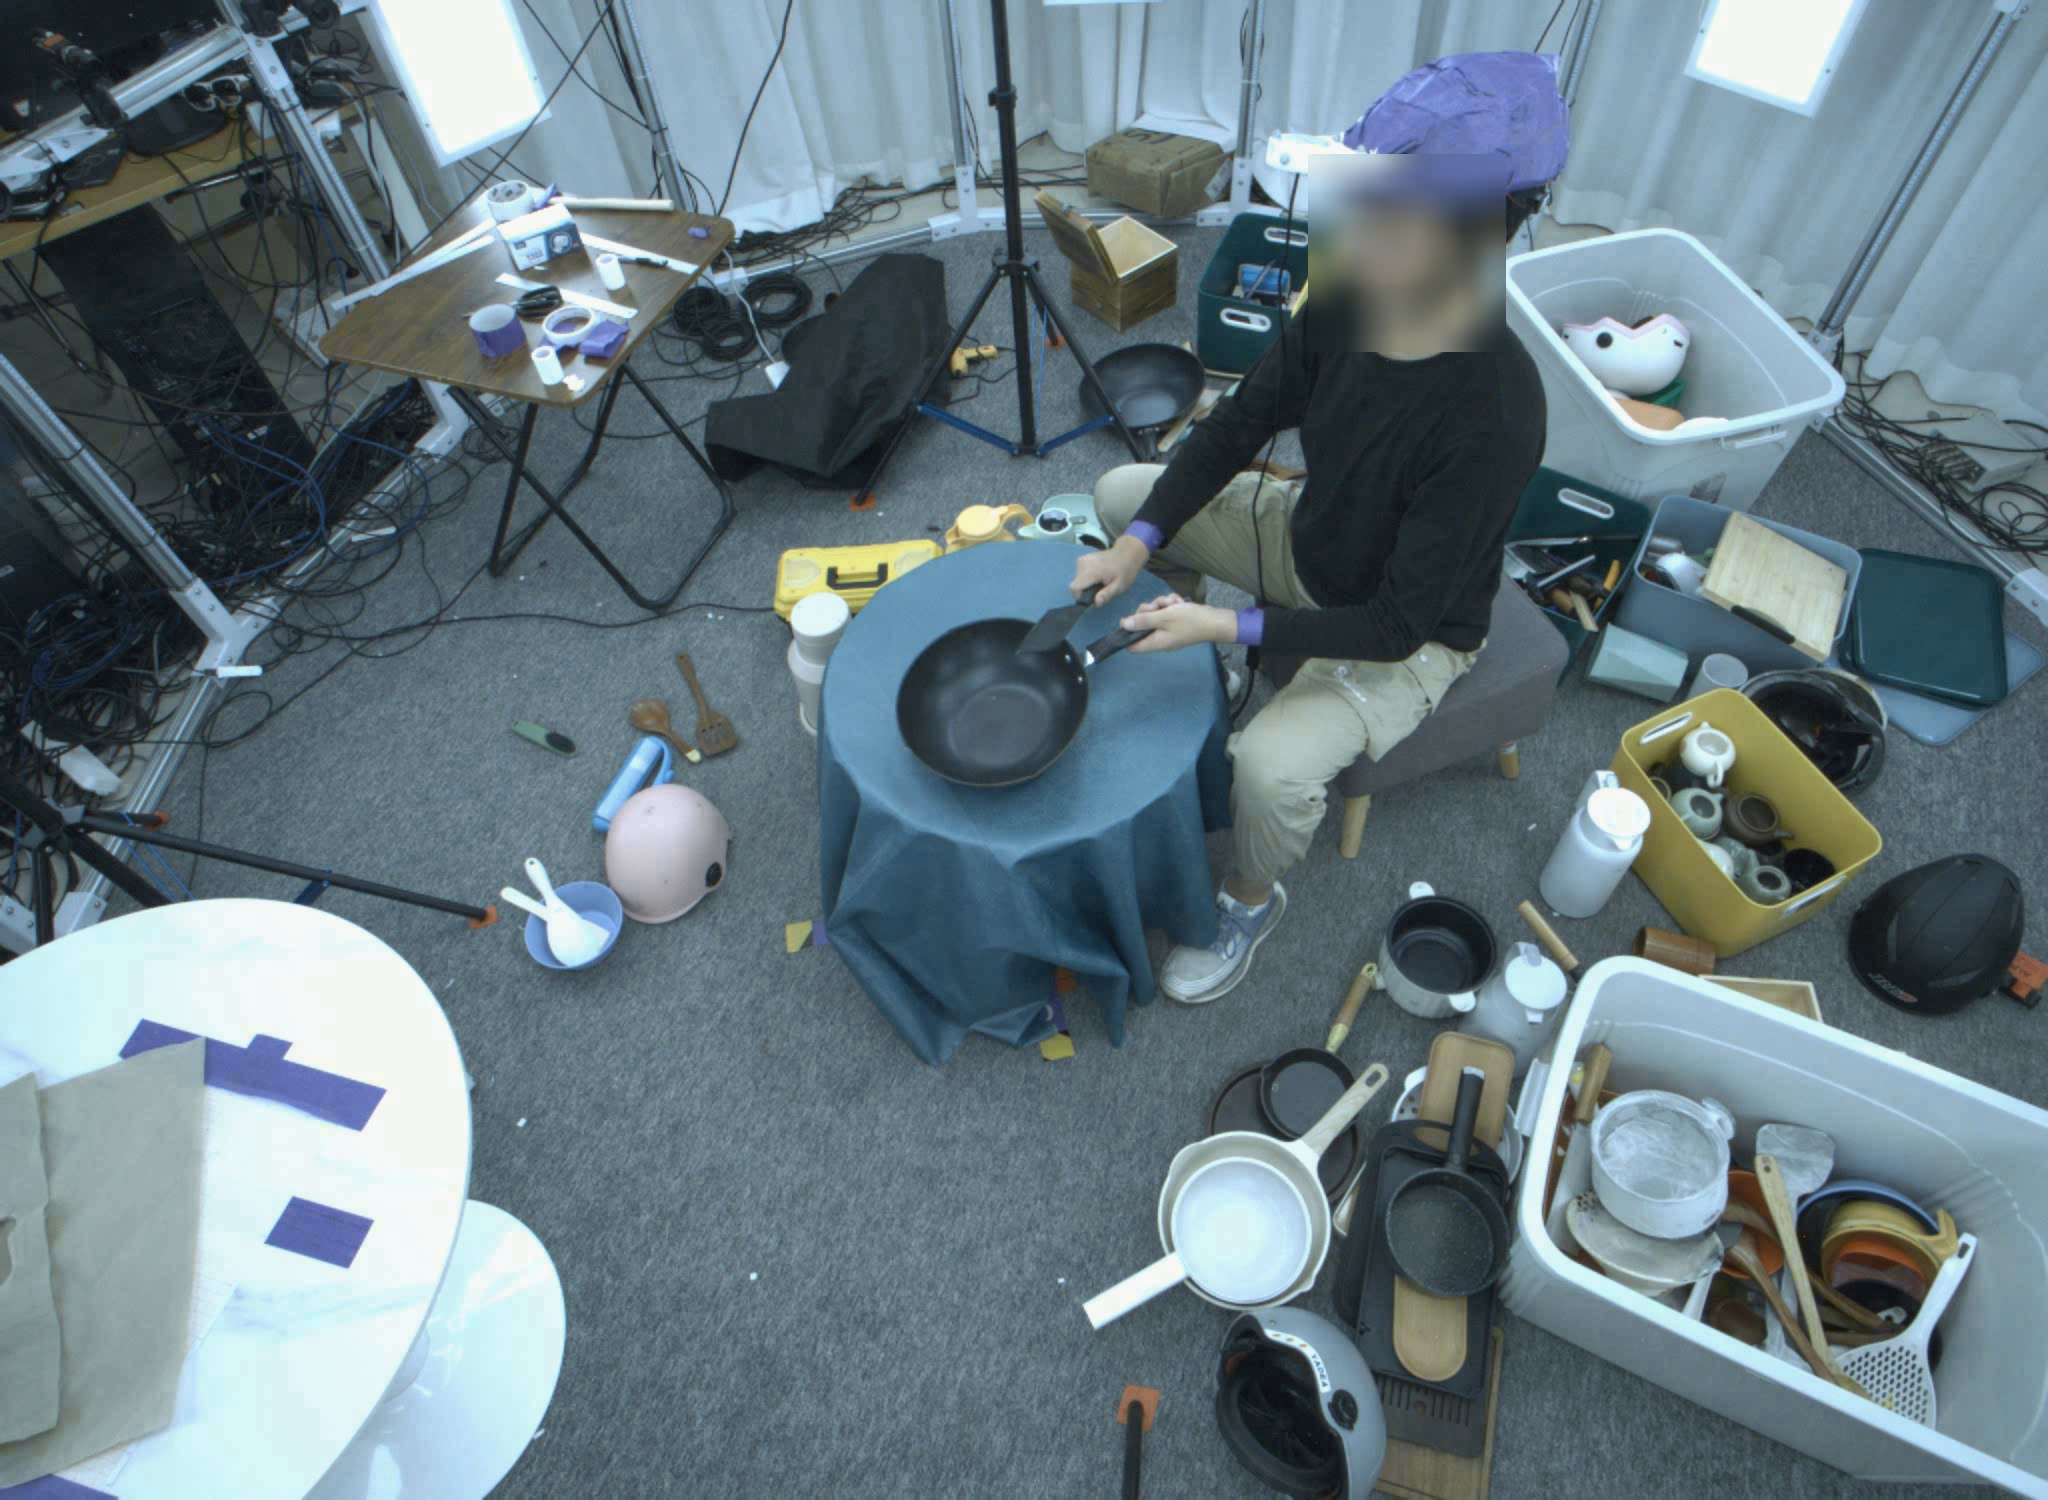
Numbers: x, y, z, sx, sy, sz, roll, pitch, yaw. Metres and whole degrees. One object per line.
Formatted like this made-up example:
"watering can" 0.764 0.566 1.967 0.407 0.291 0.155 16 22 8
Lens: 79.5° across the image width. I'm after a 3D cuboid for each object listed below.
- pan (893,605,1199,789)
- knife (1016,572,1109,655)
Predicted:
"pan" 0.039 -0.093 1.772 0.465 0.088 0.283 -25 60 -7
"knife" 0.062 -0.200 1.788 0.079 0.021 0.303 -4 26 26
